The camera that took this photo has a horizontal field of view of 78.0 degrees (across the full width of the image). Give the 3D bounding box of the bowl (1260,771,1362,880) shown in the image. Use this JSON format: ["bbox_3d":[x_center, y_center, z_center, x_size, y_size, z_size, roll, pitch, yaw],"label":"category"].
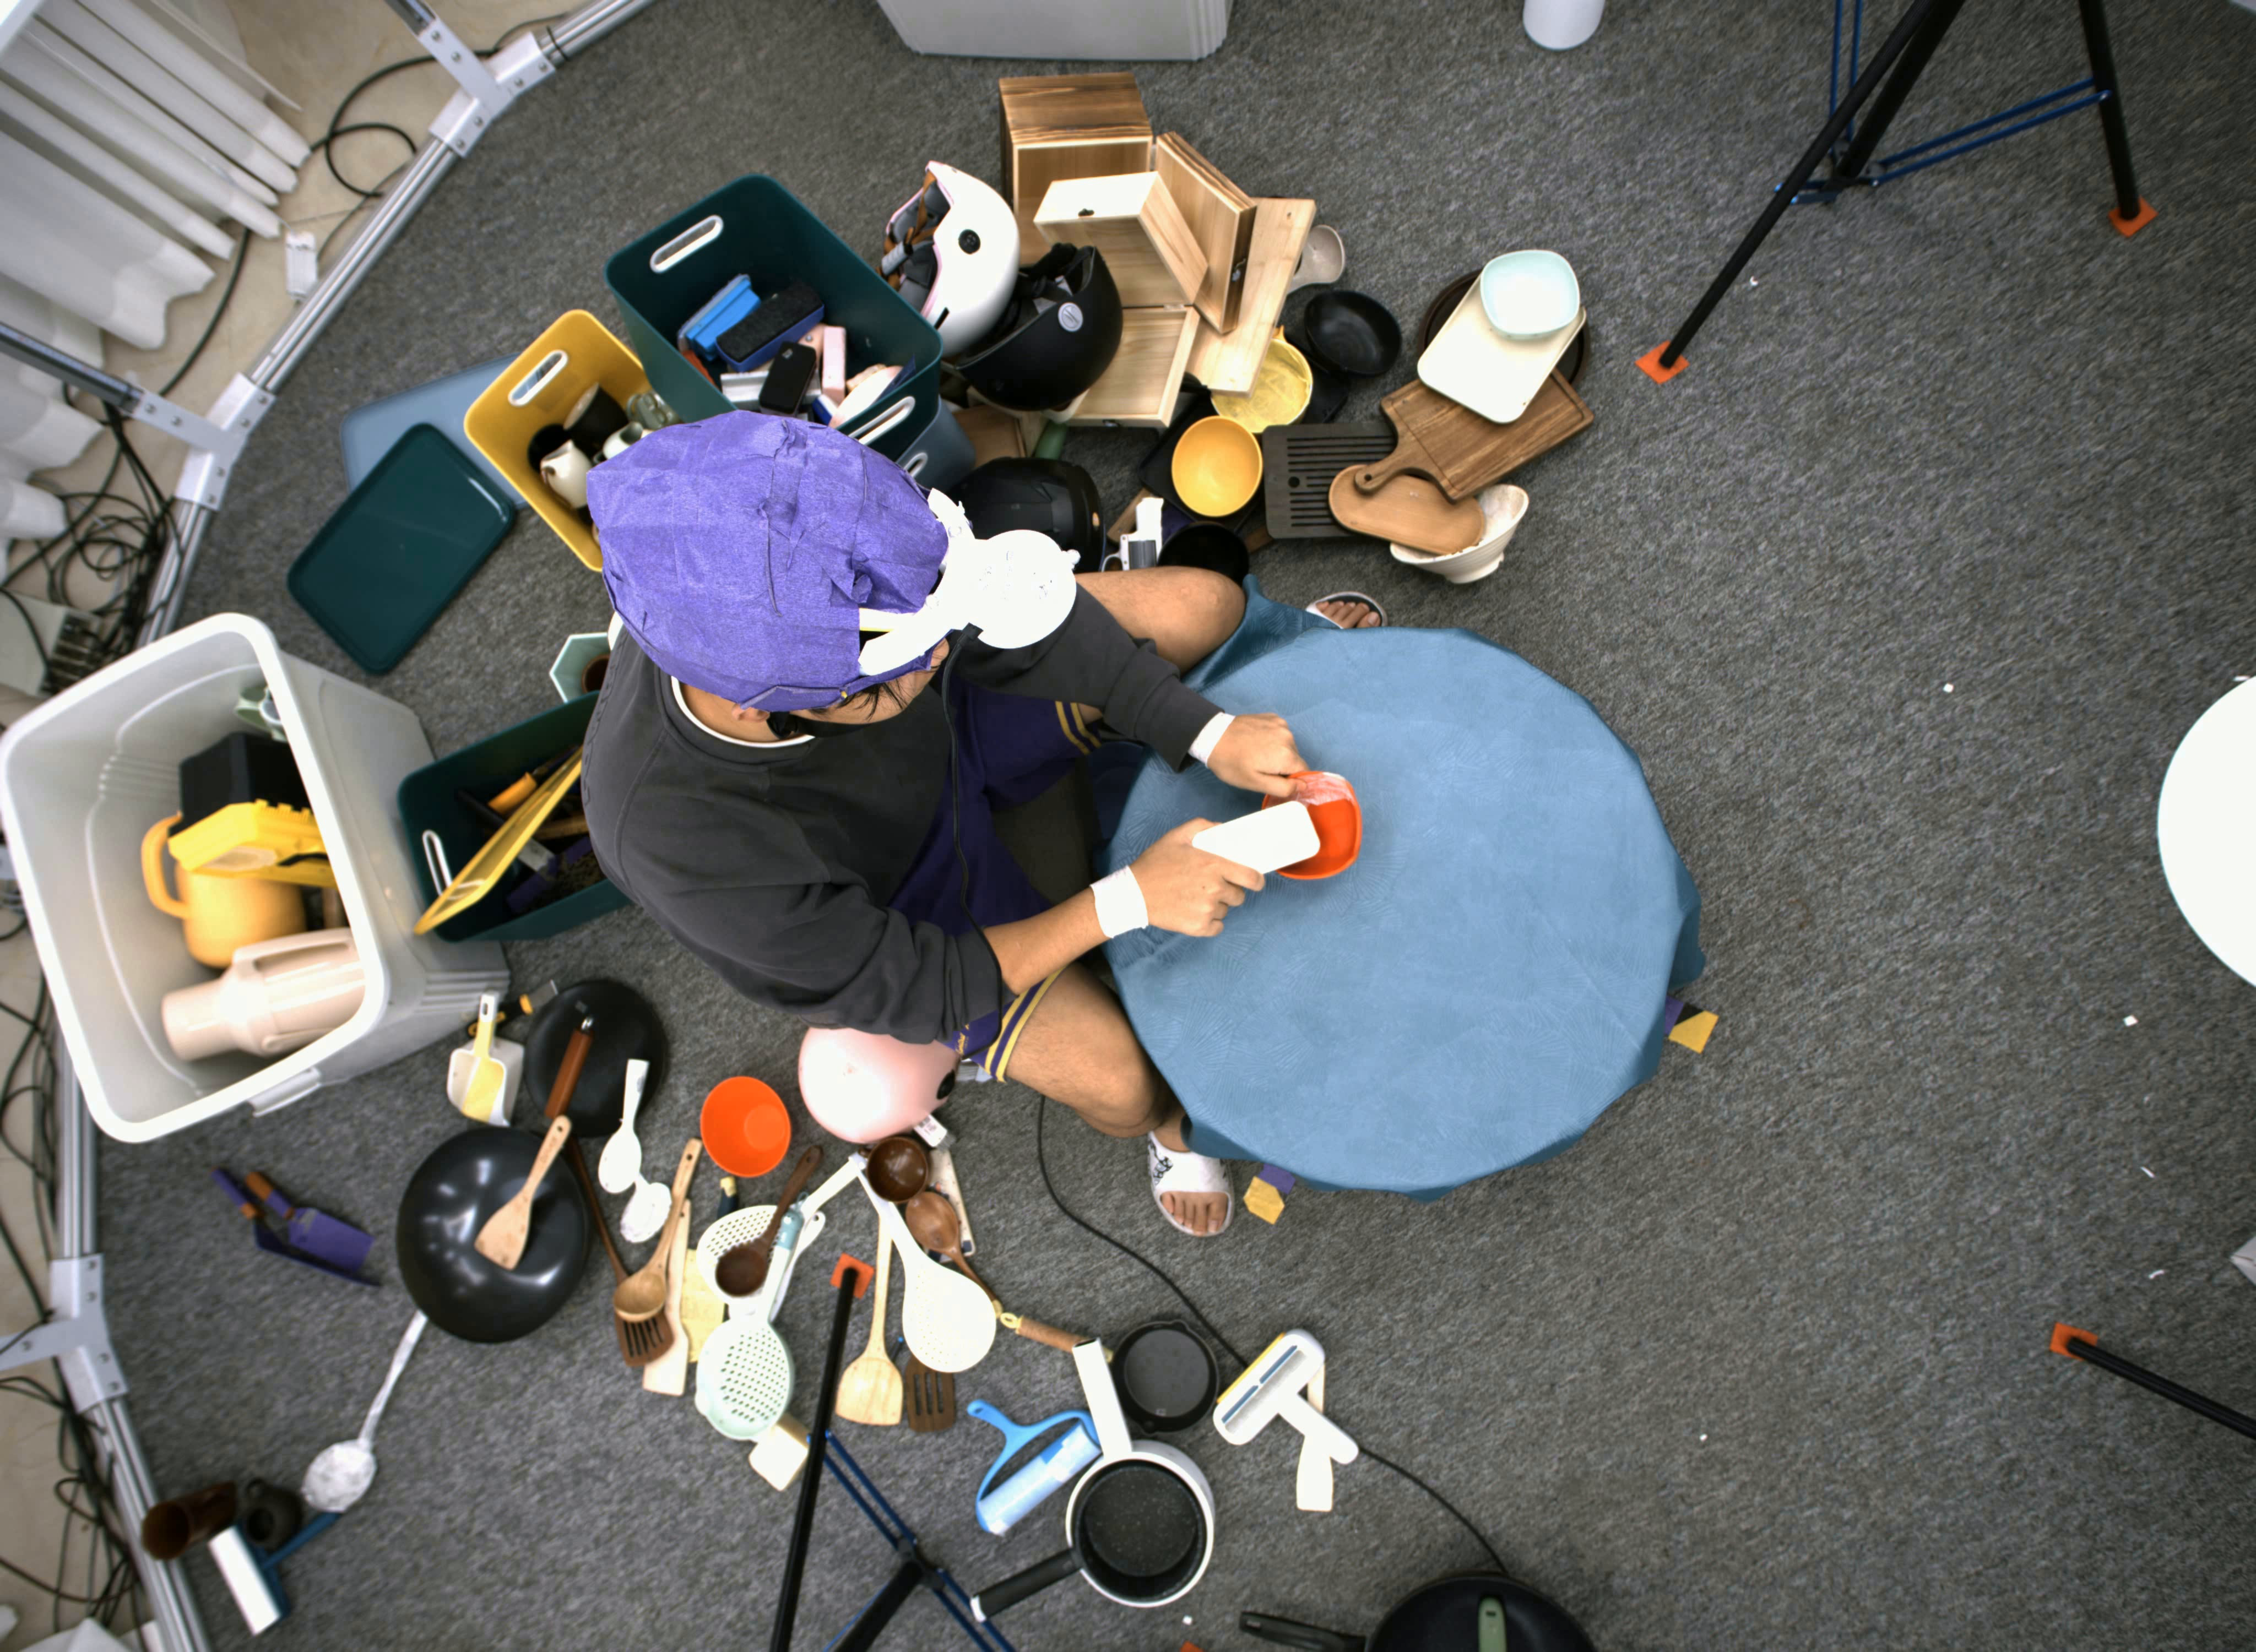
[{"bbox_3d":[0.195,0.000,1.423,0.120,0.051,0.118,-1,88,32],"label":"bowl"}]

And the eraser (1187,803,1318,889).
[{"bbox_3d":[0.126,0.019,1.407,0.130,0.035,0.063,-17,79,-14],"label":"eraser"}]
